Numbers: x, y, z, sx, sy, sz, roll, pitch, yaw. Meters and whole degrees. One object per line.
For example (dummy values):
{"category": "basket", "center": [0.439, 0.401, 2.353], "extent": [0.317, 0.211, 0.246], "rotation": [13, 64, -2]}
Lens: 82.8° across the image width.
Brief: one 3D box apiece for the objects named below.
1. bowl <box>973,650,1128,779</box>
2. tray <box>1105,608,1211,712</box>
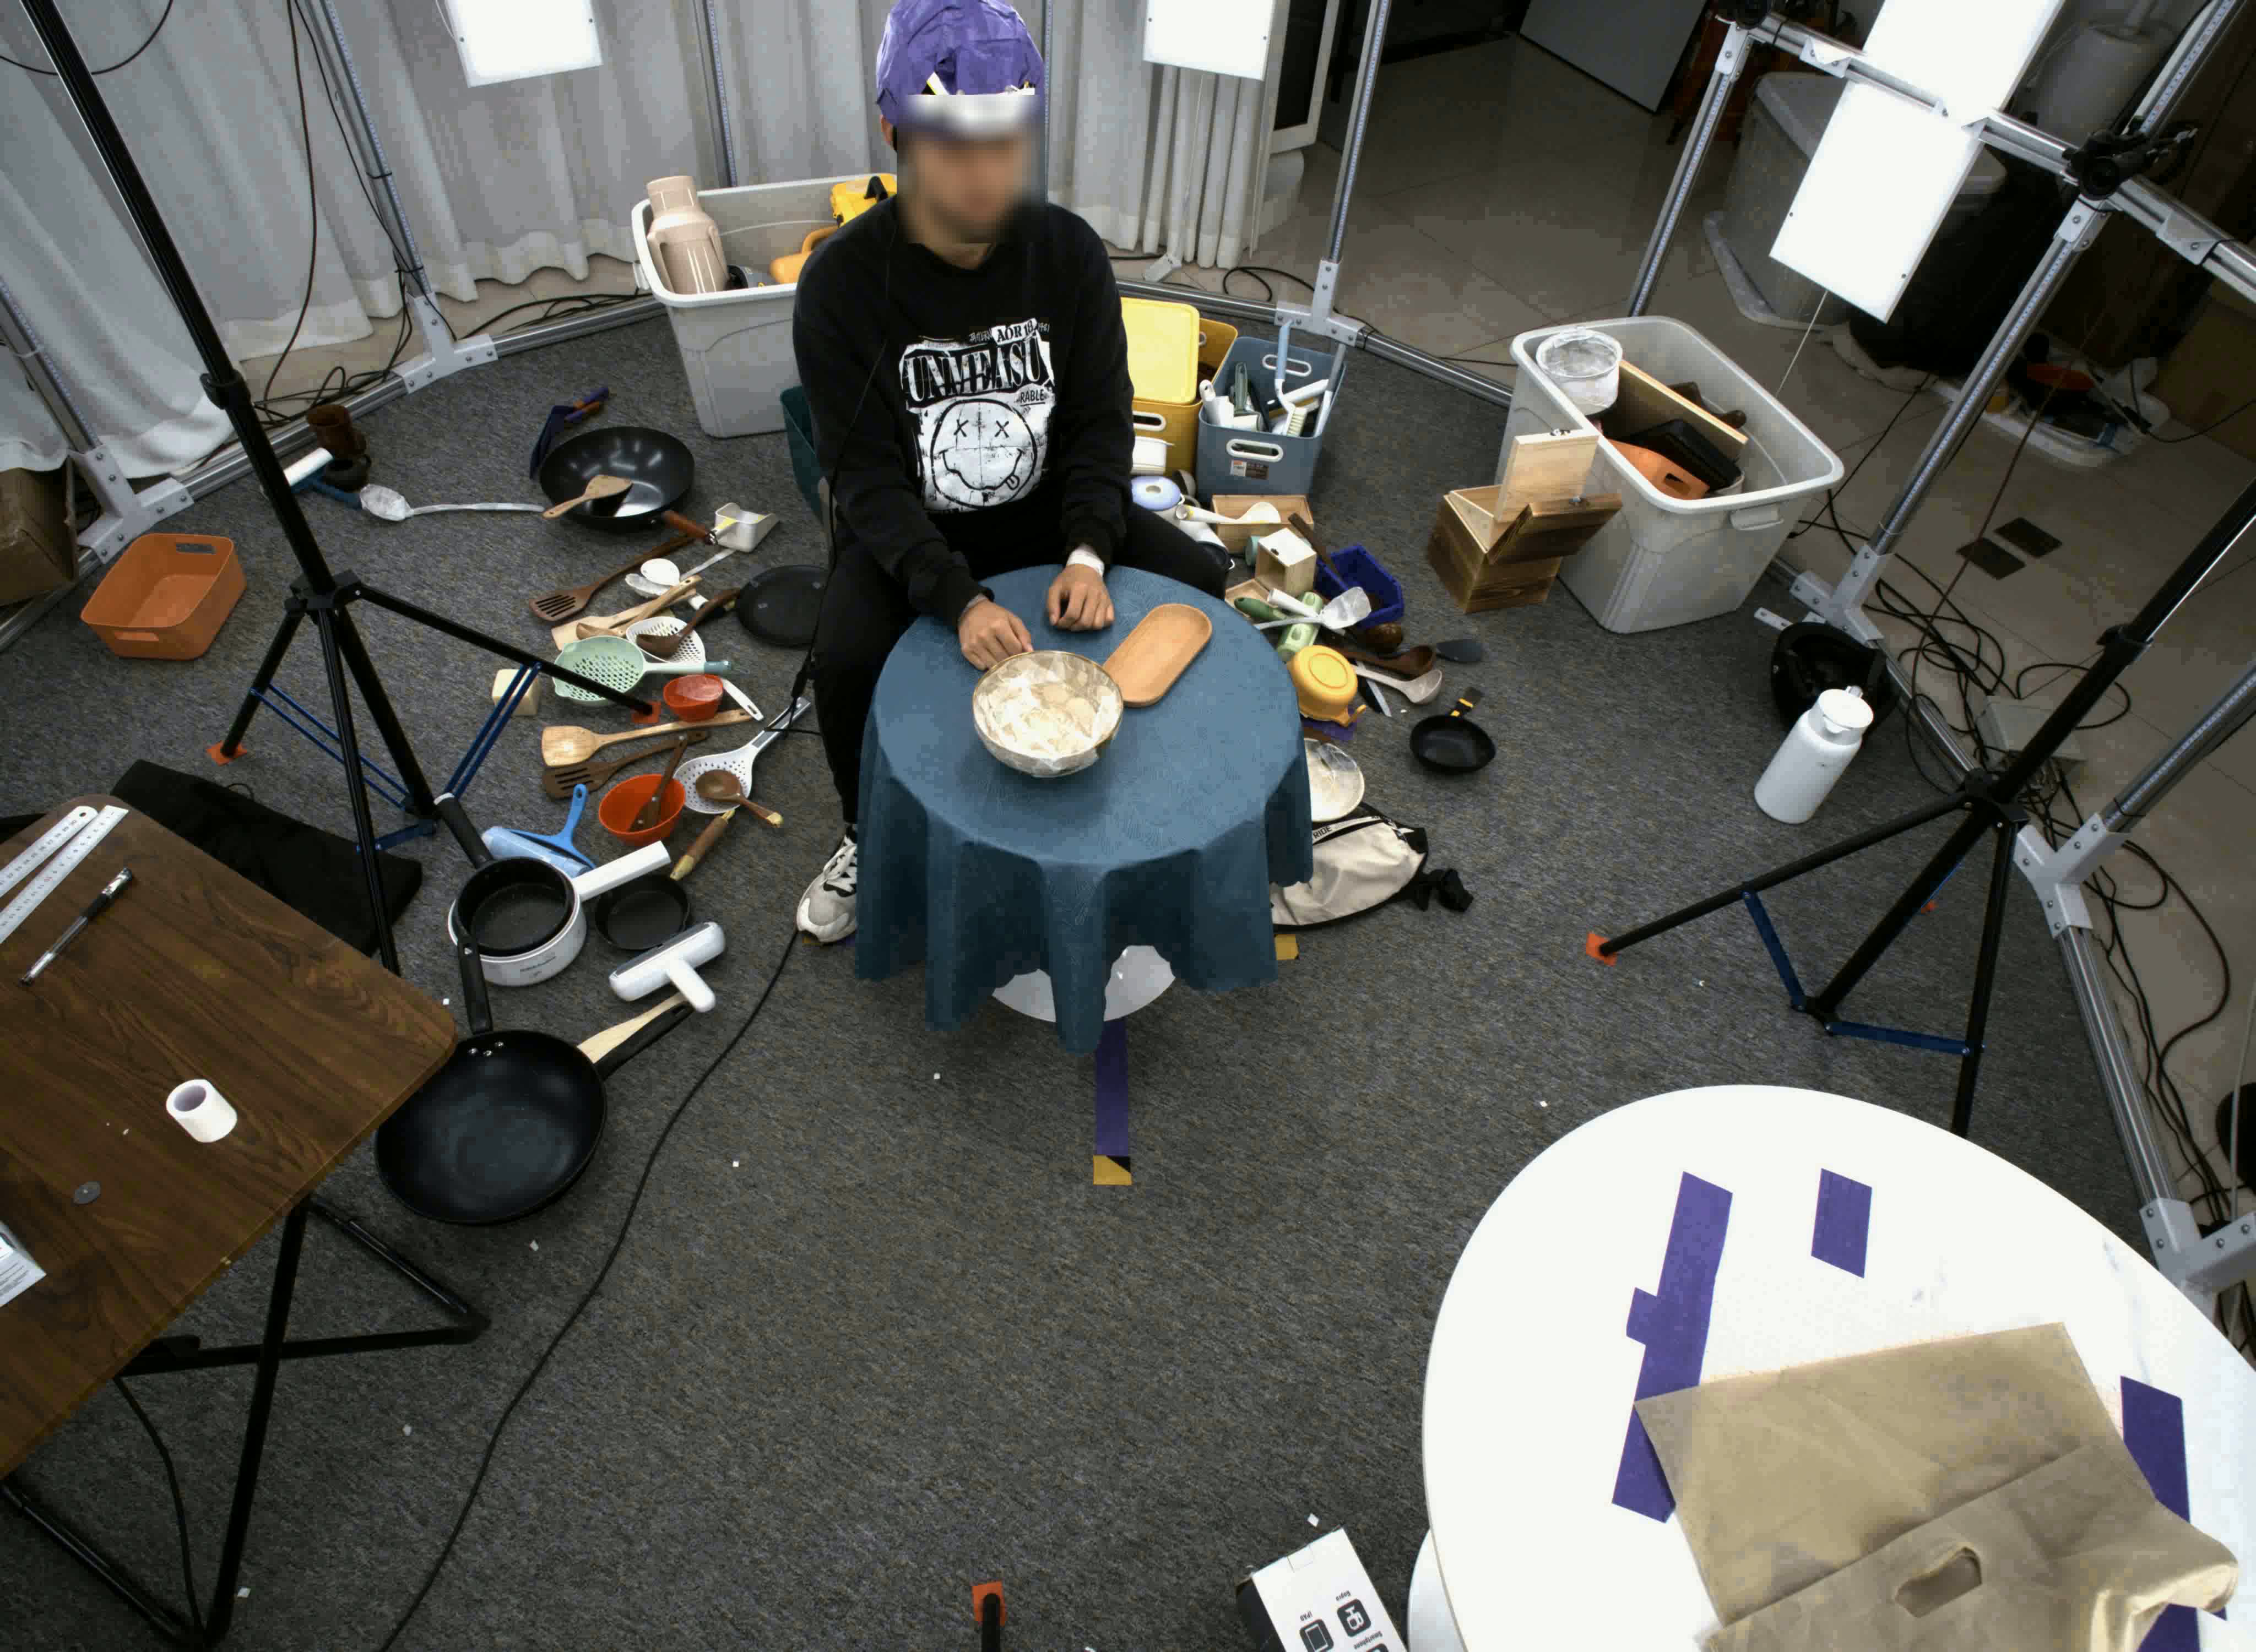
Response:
{"category": "bowl", "center": [-0.104, -0.137, 1.736], "extent": [0.214, 0.092, 0.220], "rotation": [1, 48, -2]}
{"category": "tray", "center": [0.042, -0.247, 1.893], "extent": [0.102, 0.020, 0.235], "rotation": [23, 53, 19]}
